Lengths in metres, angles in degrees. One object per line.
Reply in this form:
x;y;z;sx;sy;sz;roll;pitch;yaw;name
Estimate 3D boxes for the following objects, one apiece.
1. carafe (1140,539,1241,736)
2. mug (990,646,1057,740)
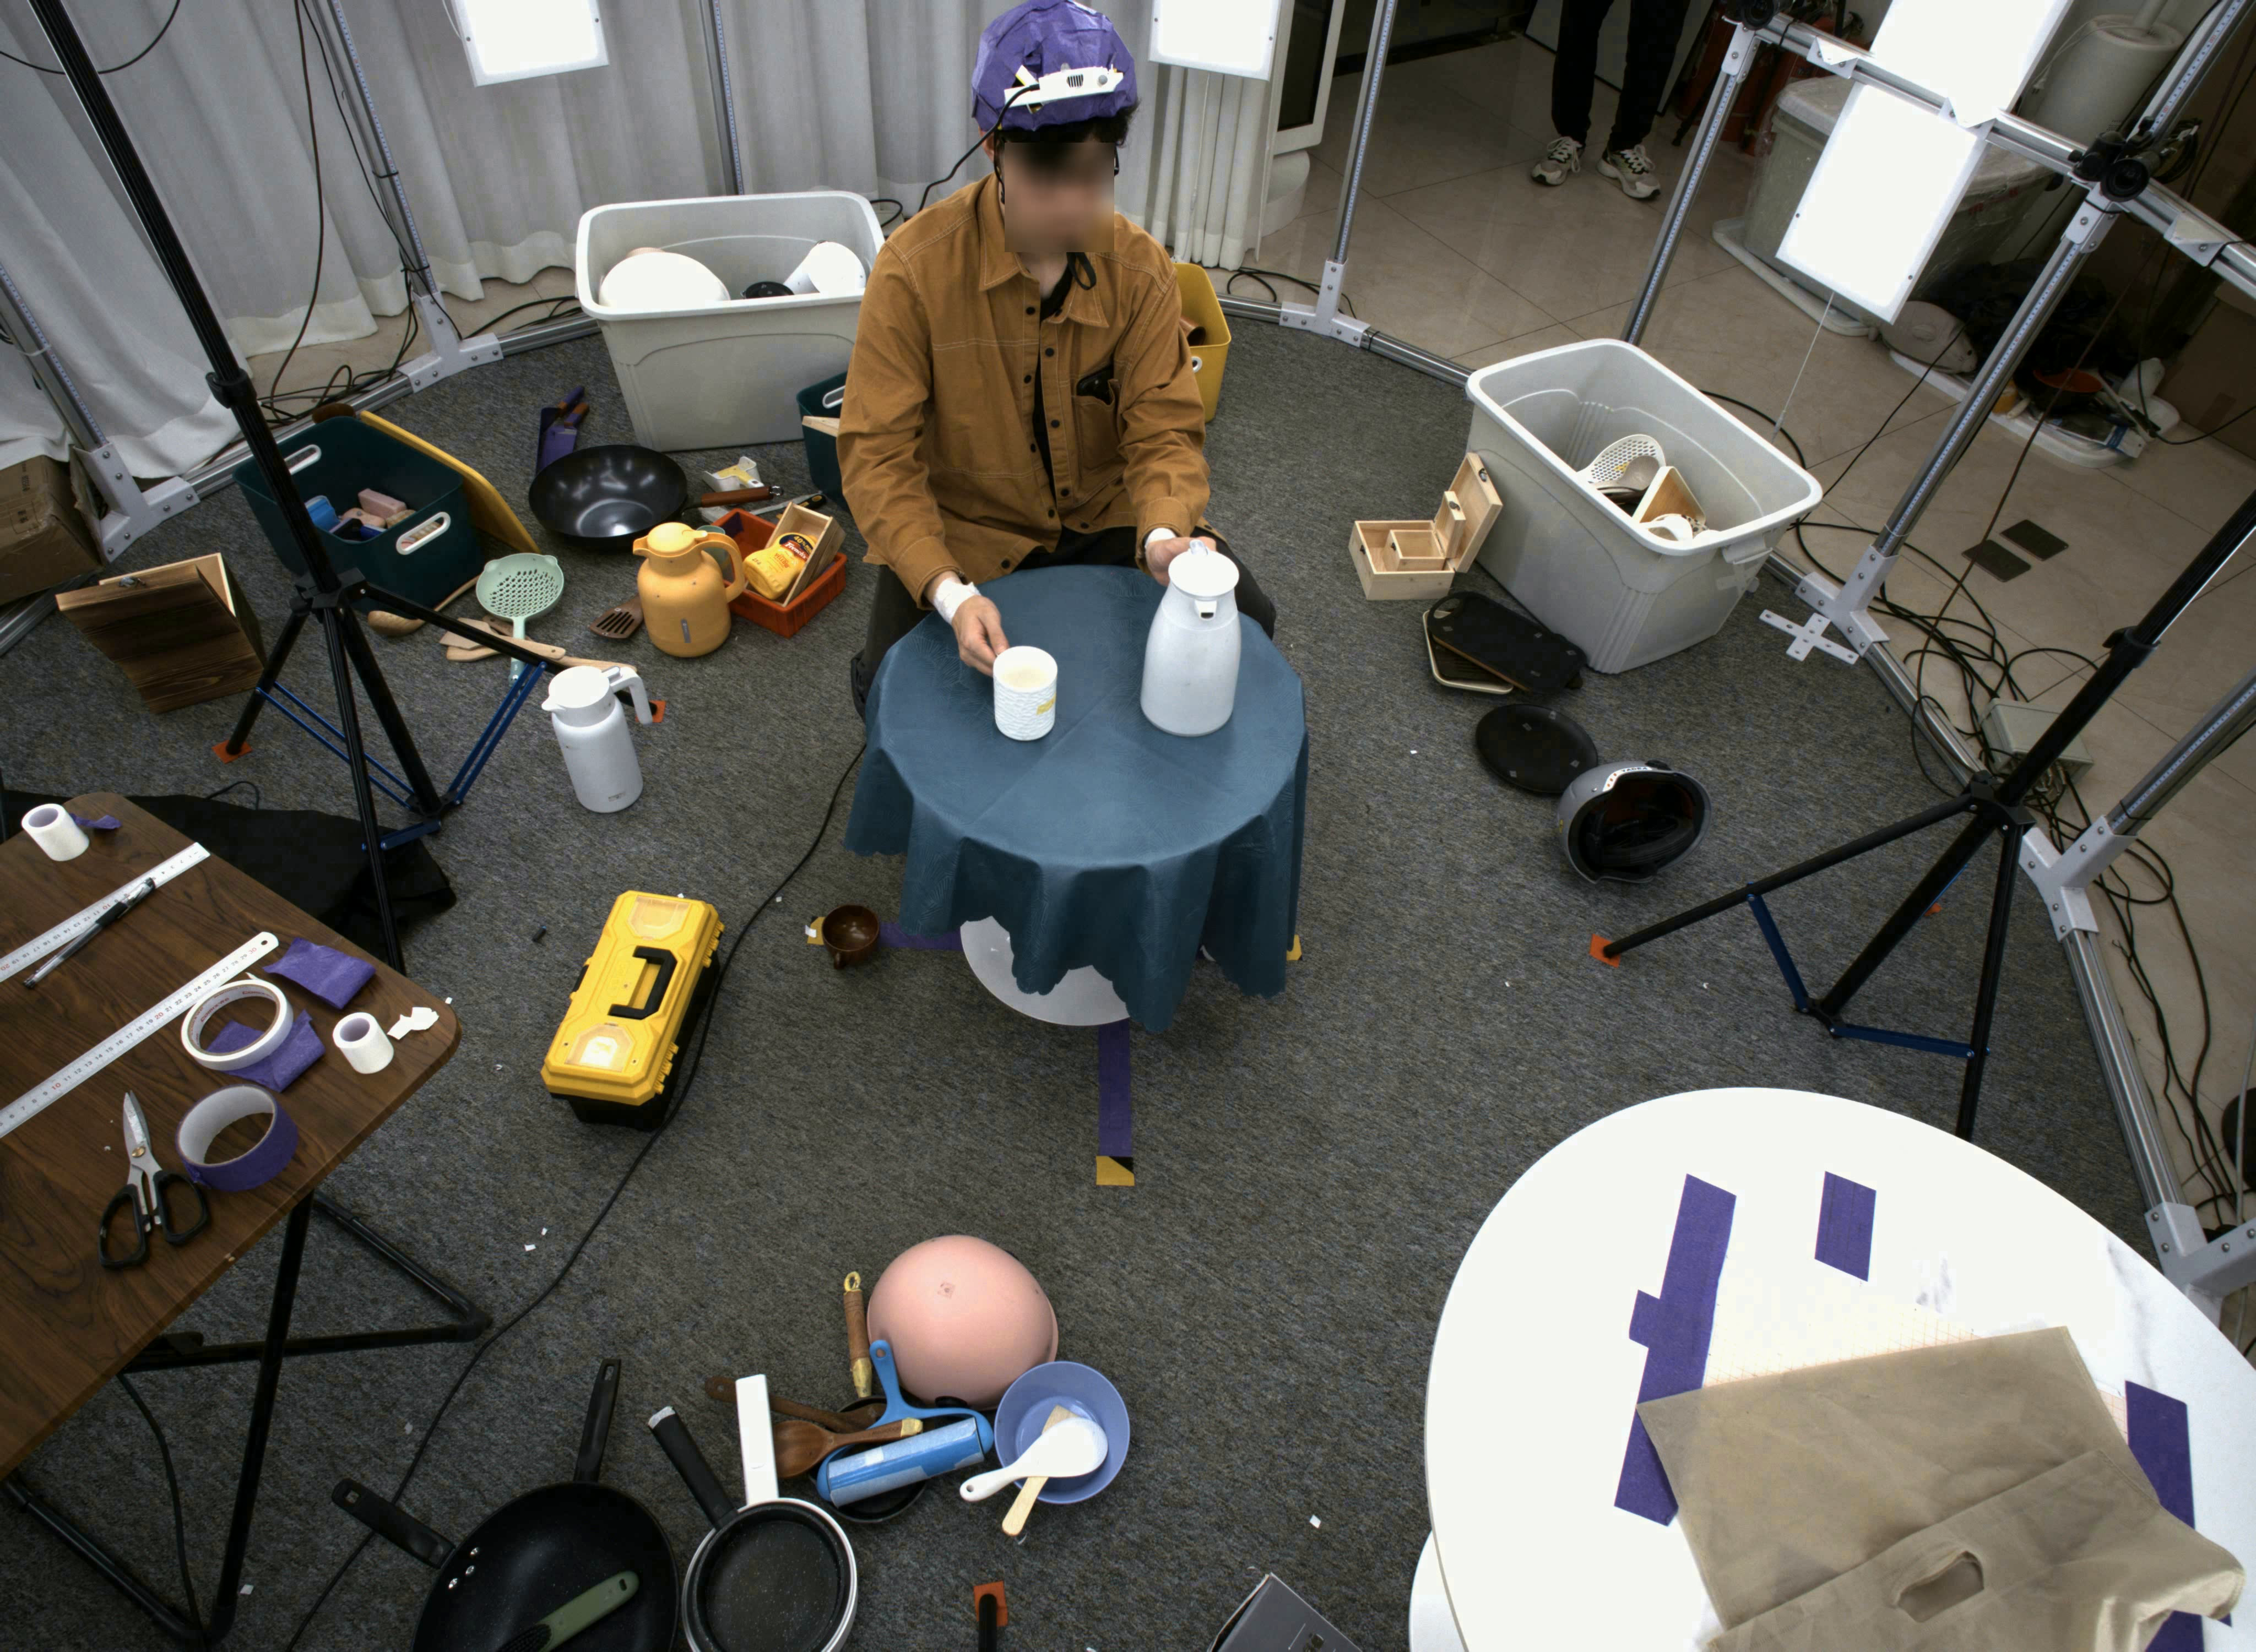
0.086;-0.267;1.746;0.132;0.242;0.172;-2;49;-5;carafe
-0.150;-0.189;1.758;0.085;0.099;0.120;-28;57;-25;mug
